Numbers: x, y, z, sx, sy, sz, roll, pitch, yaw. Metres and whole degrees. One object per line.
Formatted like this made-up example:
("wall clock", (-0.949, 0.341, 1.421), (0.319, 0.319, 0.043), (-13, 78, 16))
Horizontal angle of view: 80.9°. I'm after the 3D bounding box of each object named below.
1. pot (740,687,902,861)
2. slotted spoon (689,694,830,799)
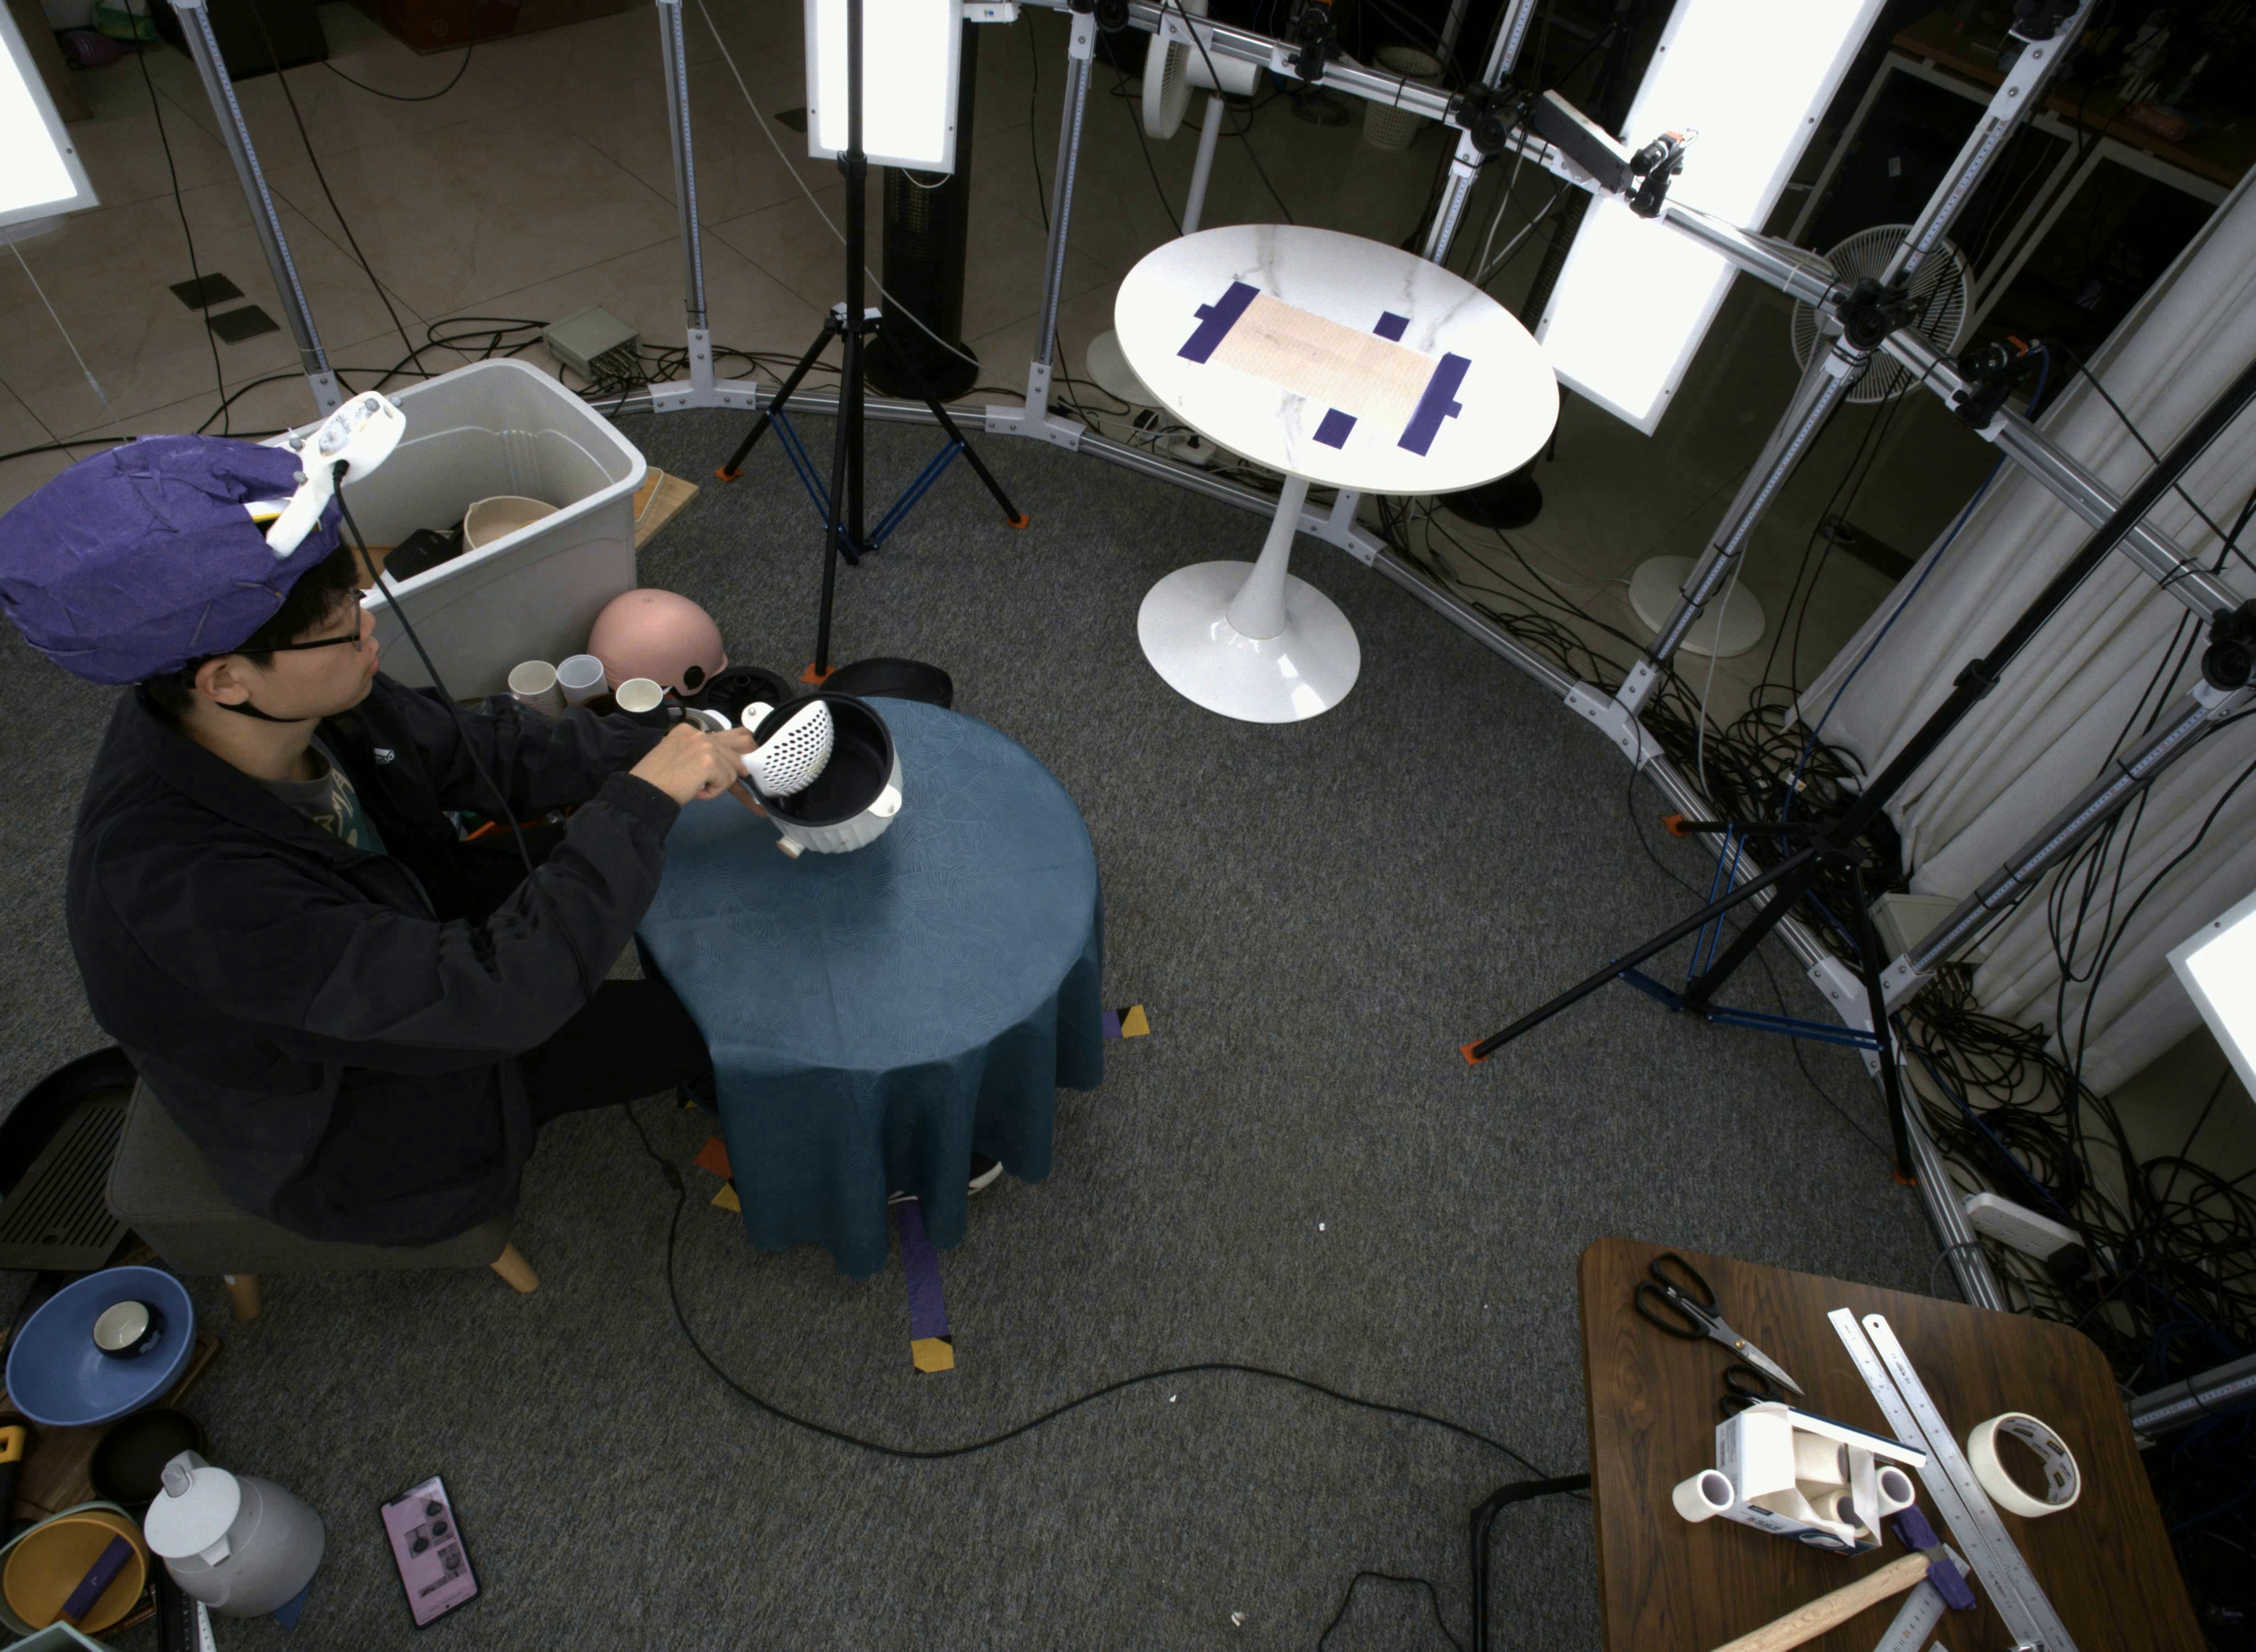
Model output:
("pot", (-0.377, -0.056, 1.629), (0.236, 0.145, 0.190), (32, 69, 10))
("slotted spoon", (-0.424, -0.077, 1.484), (0.049, 0.138, 0.349), (26, 12, 11))
